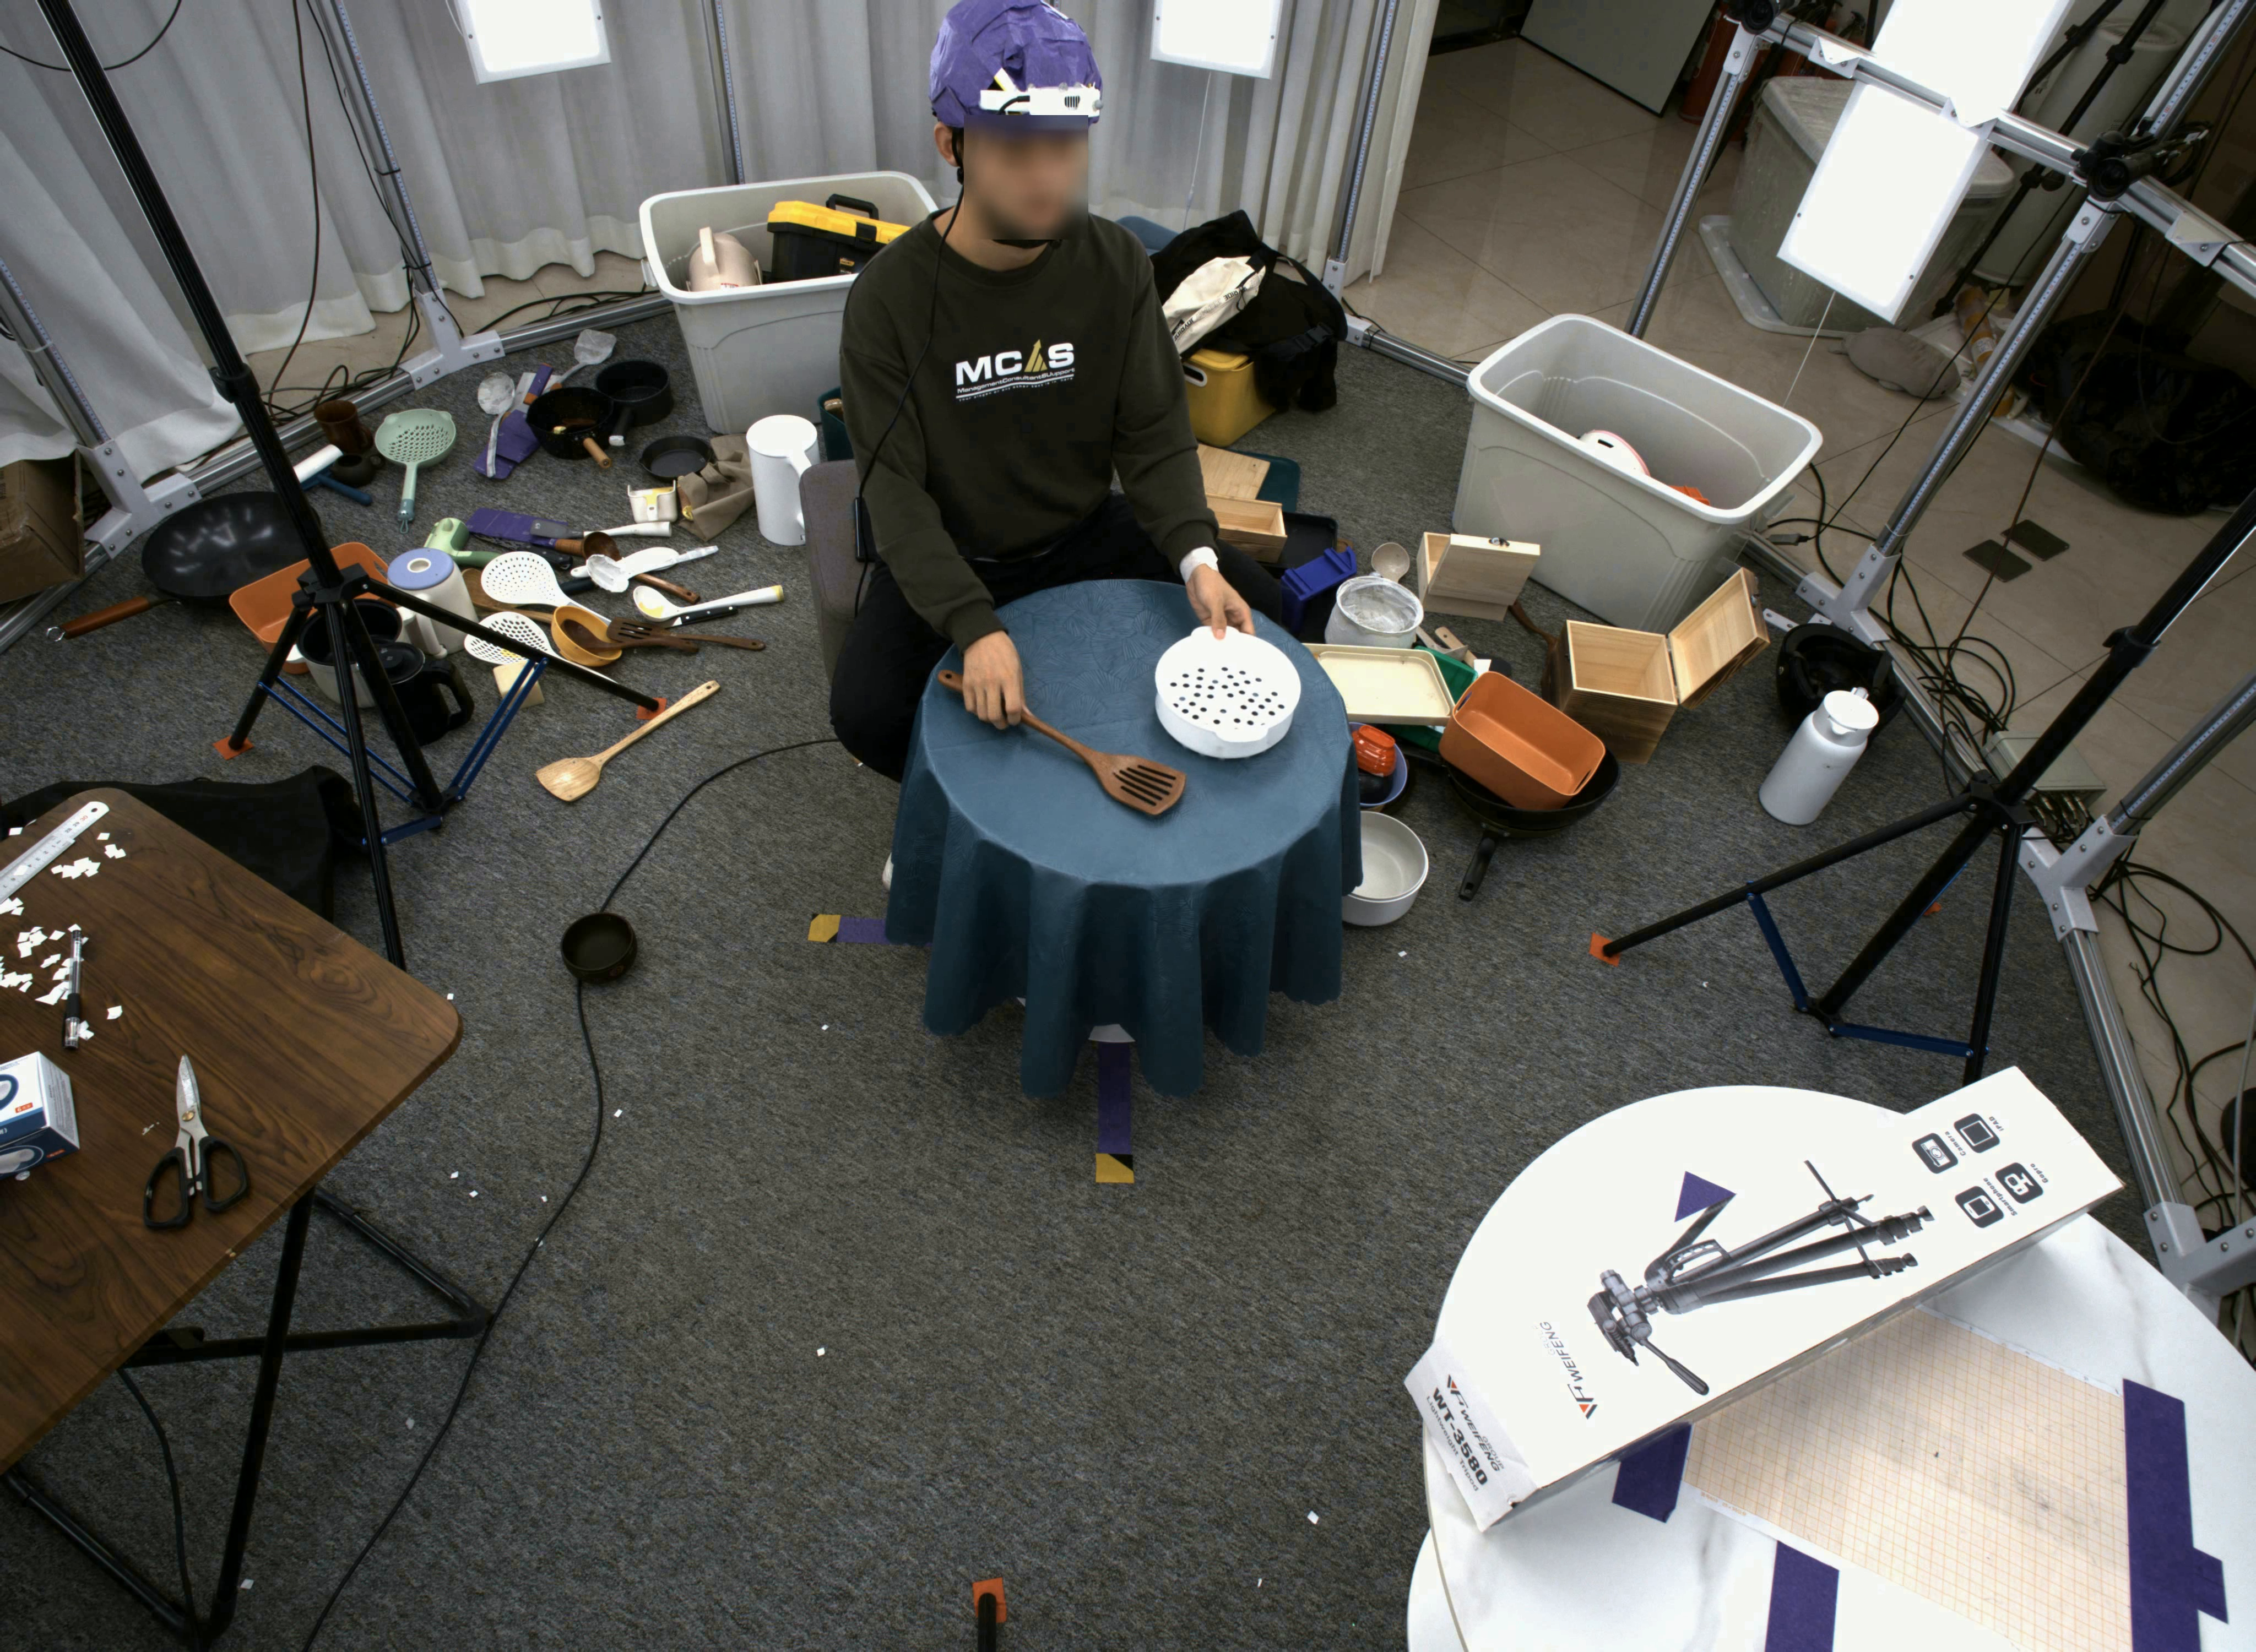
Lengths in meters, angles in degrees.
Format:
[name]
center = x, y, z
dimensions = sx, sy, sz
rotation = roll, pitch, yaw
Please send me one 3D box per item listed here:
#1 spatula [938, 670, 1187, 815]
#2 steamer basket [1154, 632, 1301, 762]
[spatula]
center = -0.099, -0.121, 1.742
dimensions = 0.388, 0.023, 0.087
rotation = 29, 55, 15
[steamer basket]
center = 0.136, -0.176, 1.789
dimensions = 0.201, 0.067, 0.236
rotation = -2, 46, -9
